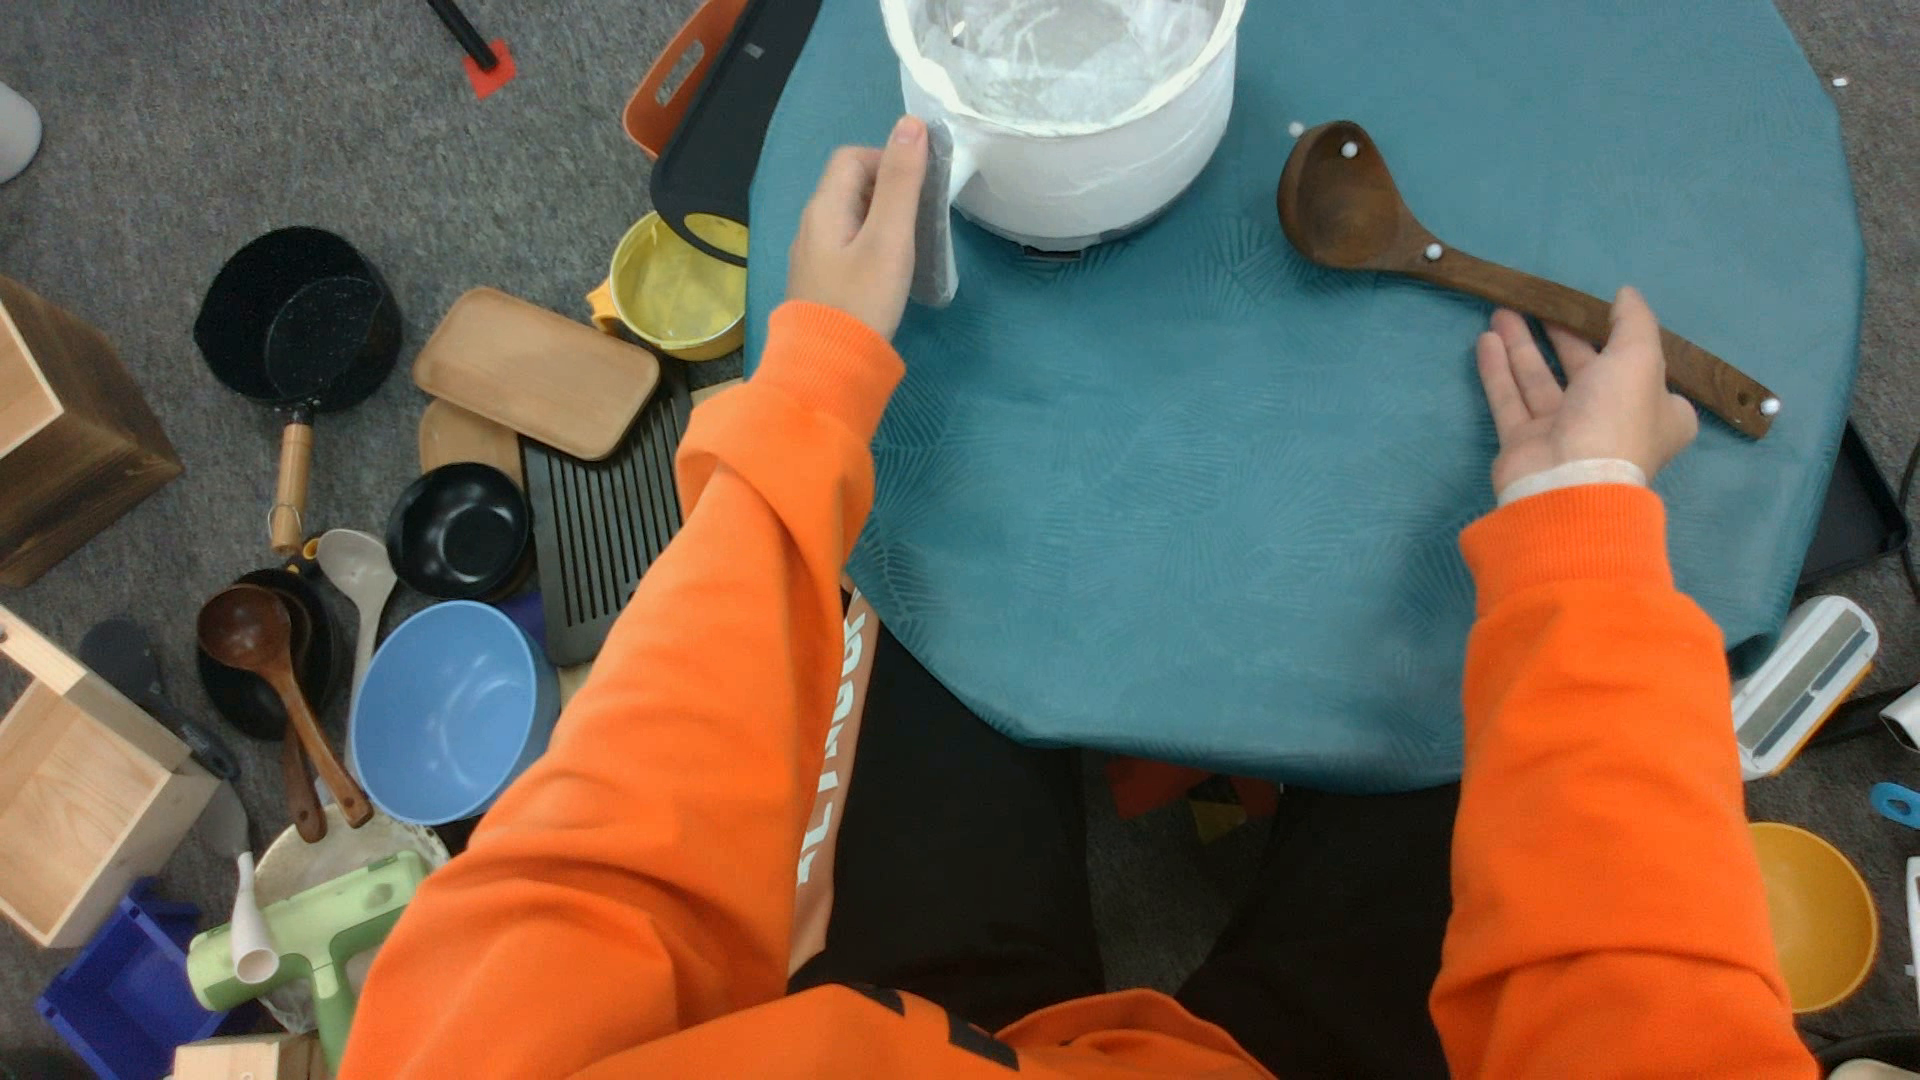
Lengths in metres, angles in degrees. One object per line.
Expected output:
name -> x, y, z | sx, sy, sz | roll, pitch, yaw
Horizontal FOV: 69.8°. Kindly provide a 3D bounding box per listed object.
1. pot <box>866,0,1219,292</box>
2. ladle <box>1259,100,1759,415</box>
pot -> 0.031, -0.241, 0.717 | 0.179, 0.136, 0.234 | 32, 80, 13
ladle -> 0.282, -0.141, 0.700 | 0.274, 0.071, 0.076 | 28, 82, 13
